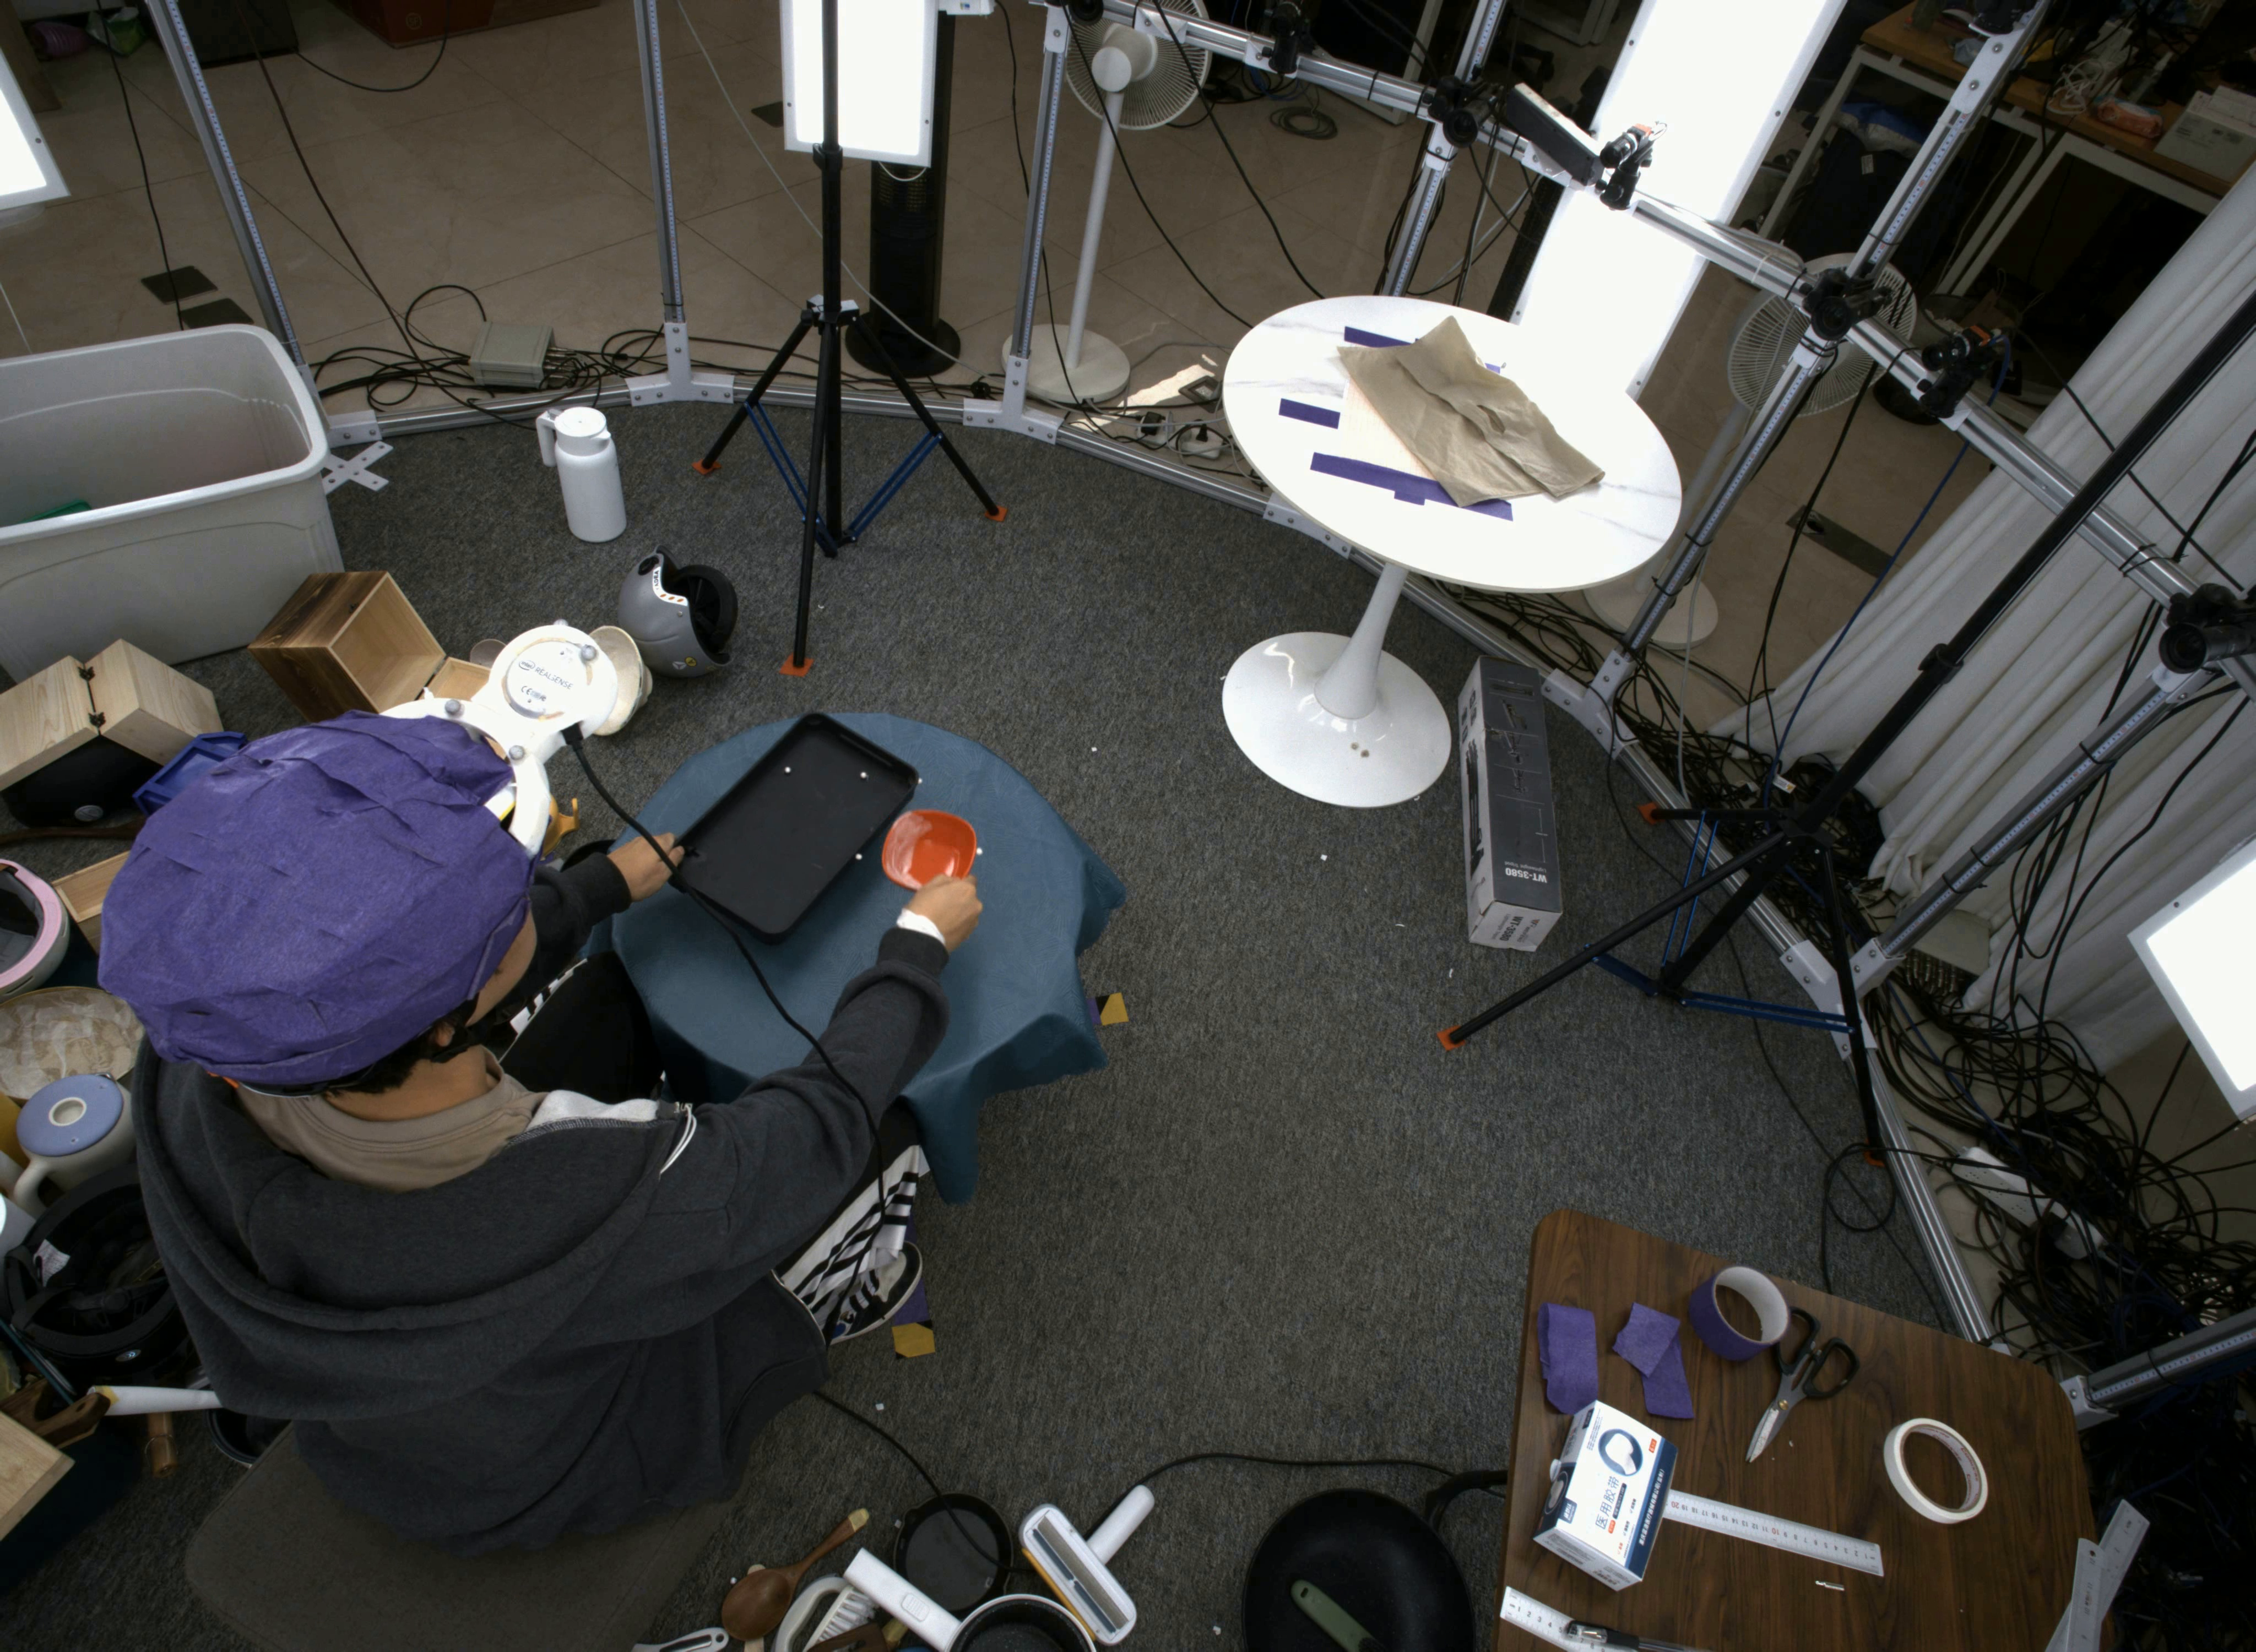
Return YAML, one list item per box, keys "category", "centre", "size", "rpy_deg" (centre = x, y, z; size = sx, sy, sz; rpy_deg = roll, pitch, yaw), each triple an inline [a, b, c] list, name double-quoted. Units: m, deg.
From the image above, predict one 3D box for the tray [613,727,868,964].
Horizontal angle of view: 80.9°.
- category: "tray"
  centre: [-0.477, 0.016, 1.609]
  size: [0.182, 0.037, 0.316]
  rpy_deg: [28, 49, 3]

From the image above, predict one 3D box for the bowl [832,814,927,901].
- category: "bowl"
  centre: [-0.295, 0.045, 1.555]
  size: [0.118, 0.052, 0.117]
  rpy_deg: [4, 59, -5]
